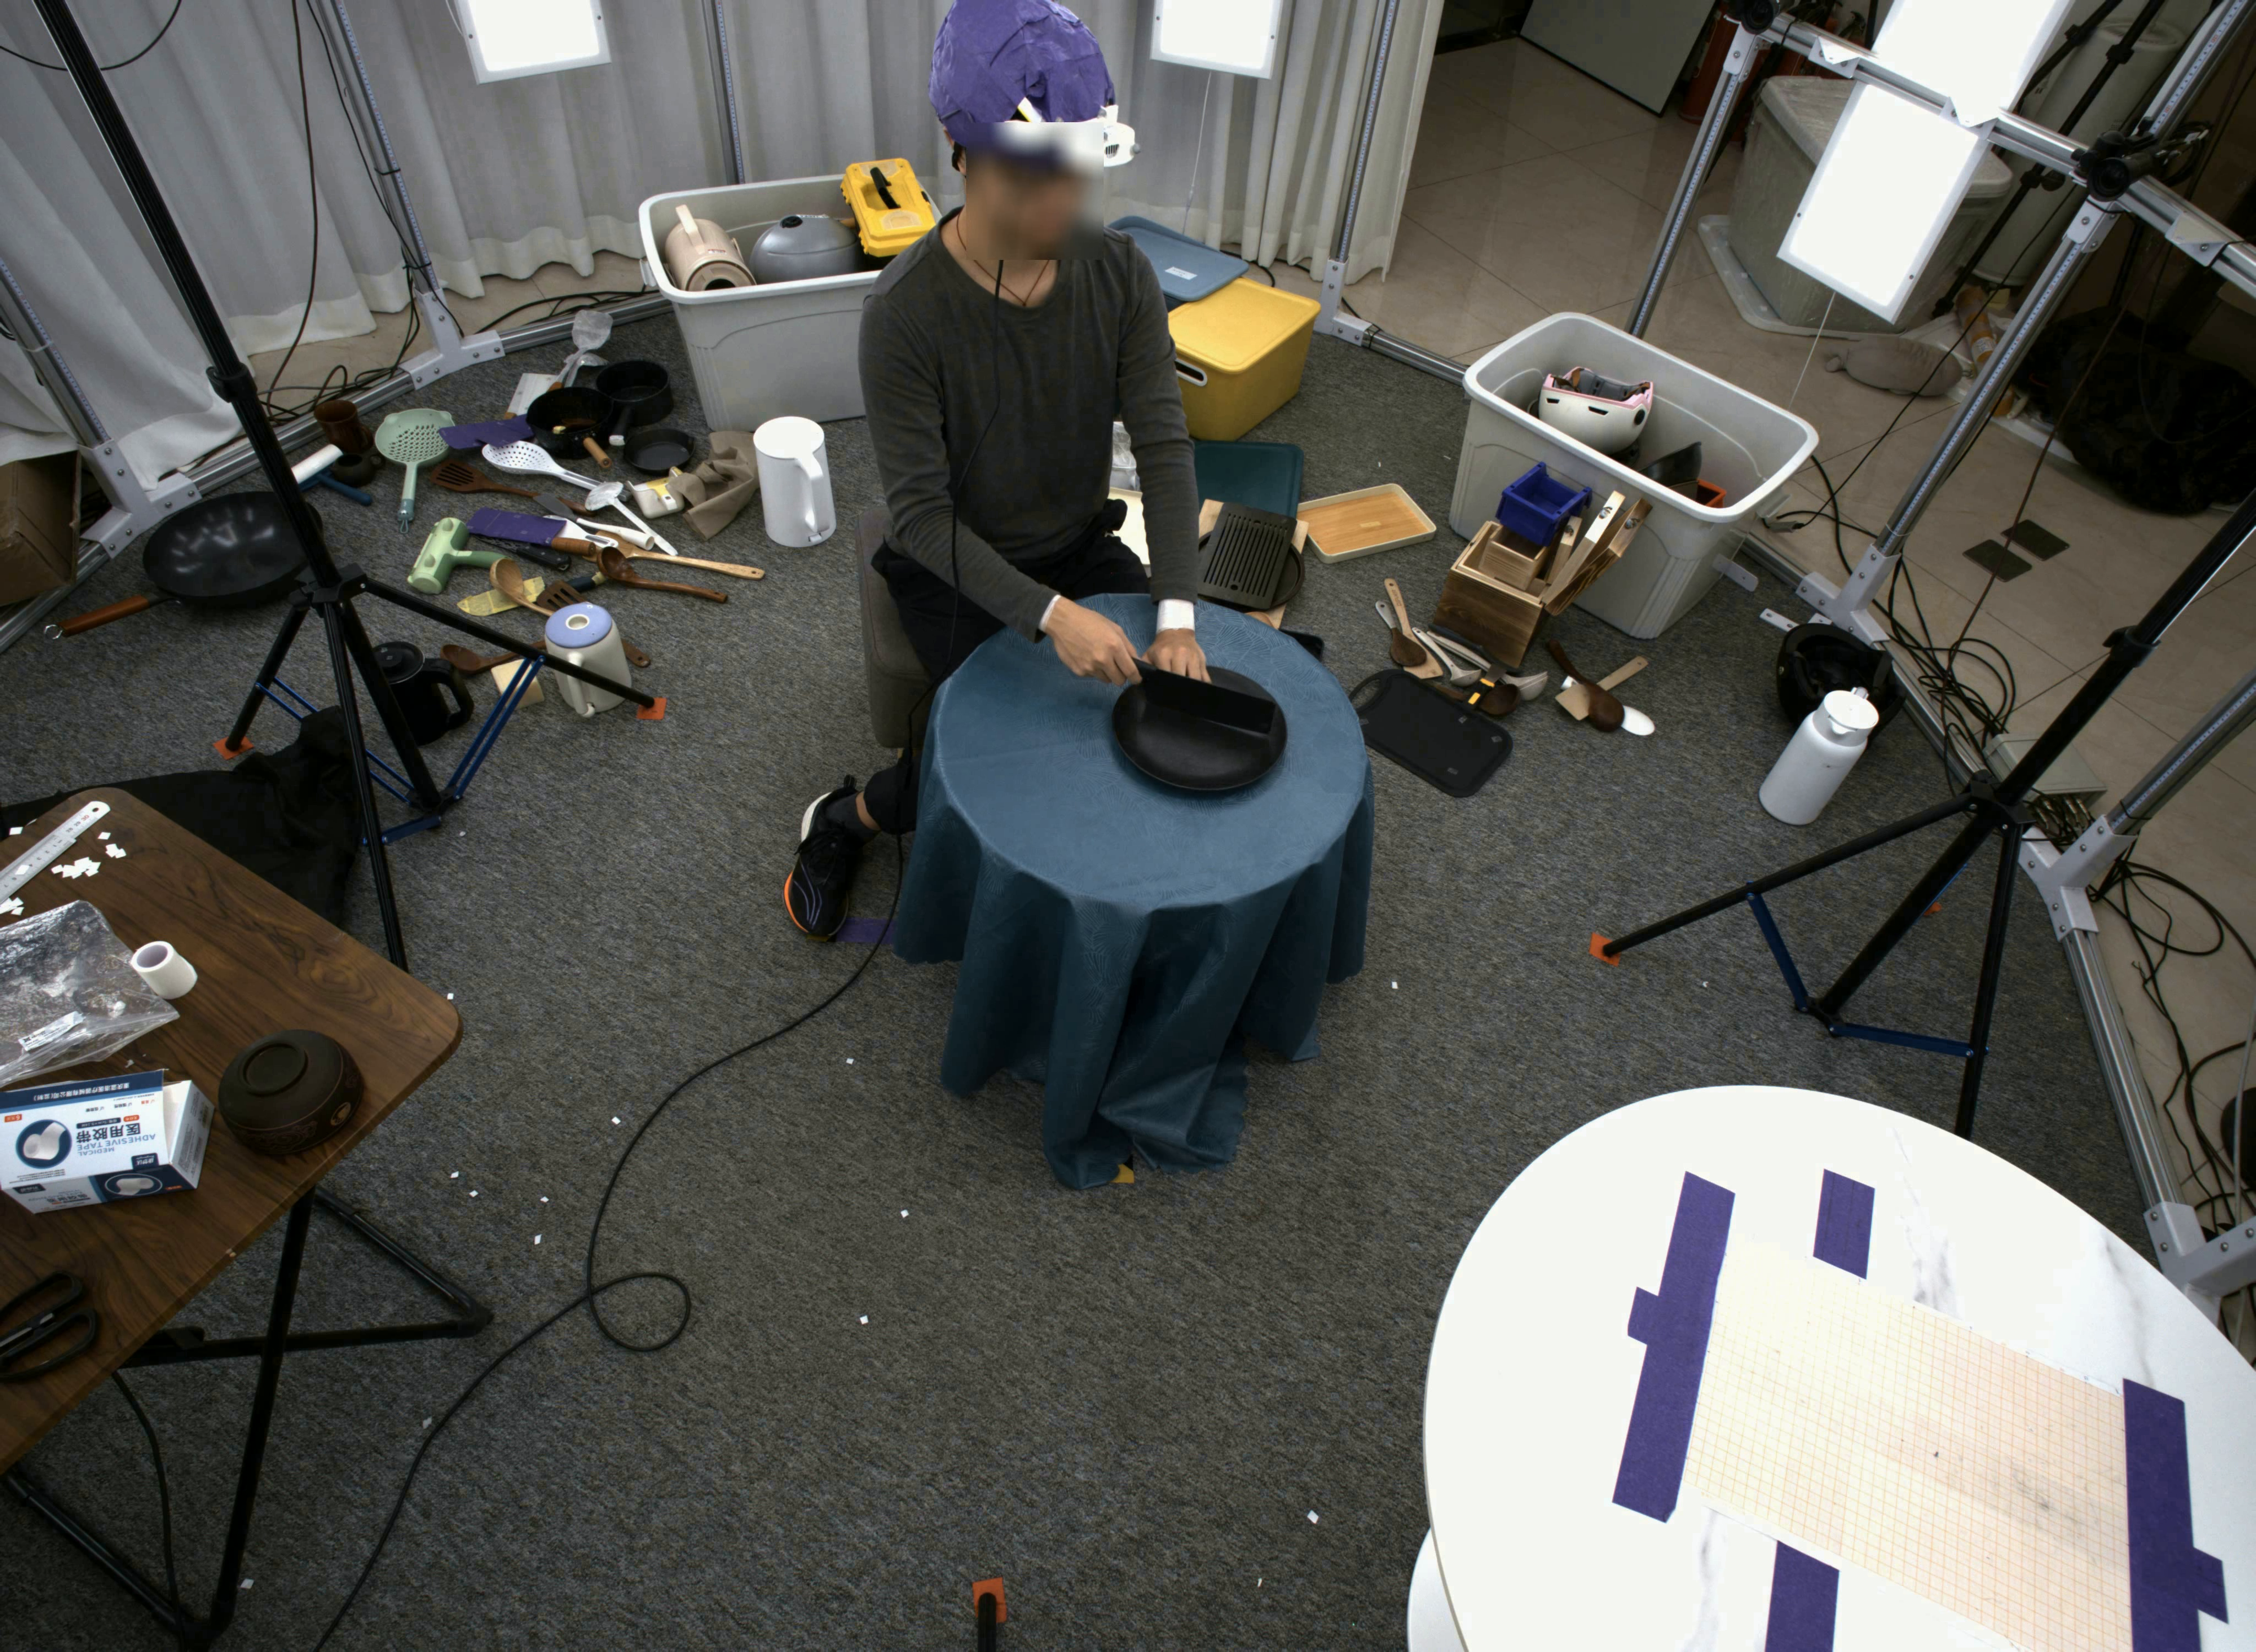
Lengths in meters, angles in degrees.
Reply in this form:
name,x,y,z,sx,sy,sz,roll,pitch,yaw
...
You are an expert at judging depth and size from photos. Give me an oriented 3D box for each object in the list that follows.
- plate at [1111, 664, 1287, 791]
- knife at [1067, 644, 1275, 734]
name,x,y,z,sx,sy,sz,roll,pitch,yaw
plate,0.098,-0.134,1.775,0.244,0.023,0.250,2,49,-2
knife,0.057,-0.192,1.776,0.303,0.079,0.021,20,48,9
